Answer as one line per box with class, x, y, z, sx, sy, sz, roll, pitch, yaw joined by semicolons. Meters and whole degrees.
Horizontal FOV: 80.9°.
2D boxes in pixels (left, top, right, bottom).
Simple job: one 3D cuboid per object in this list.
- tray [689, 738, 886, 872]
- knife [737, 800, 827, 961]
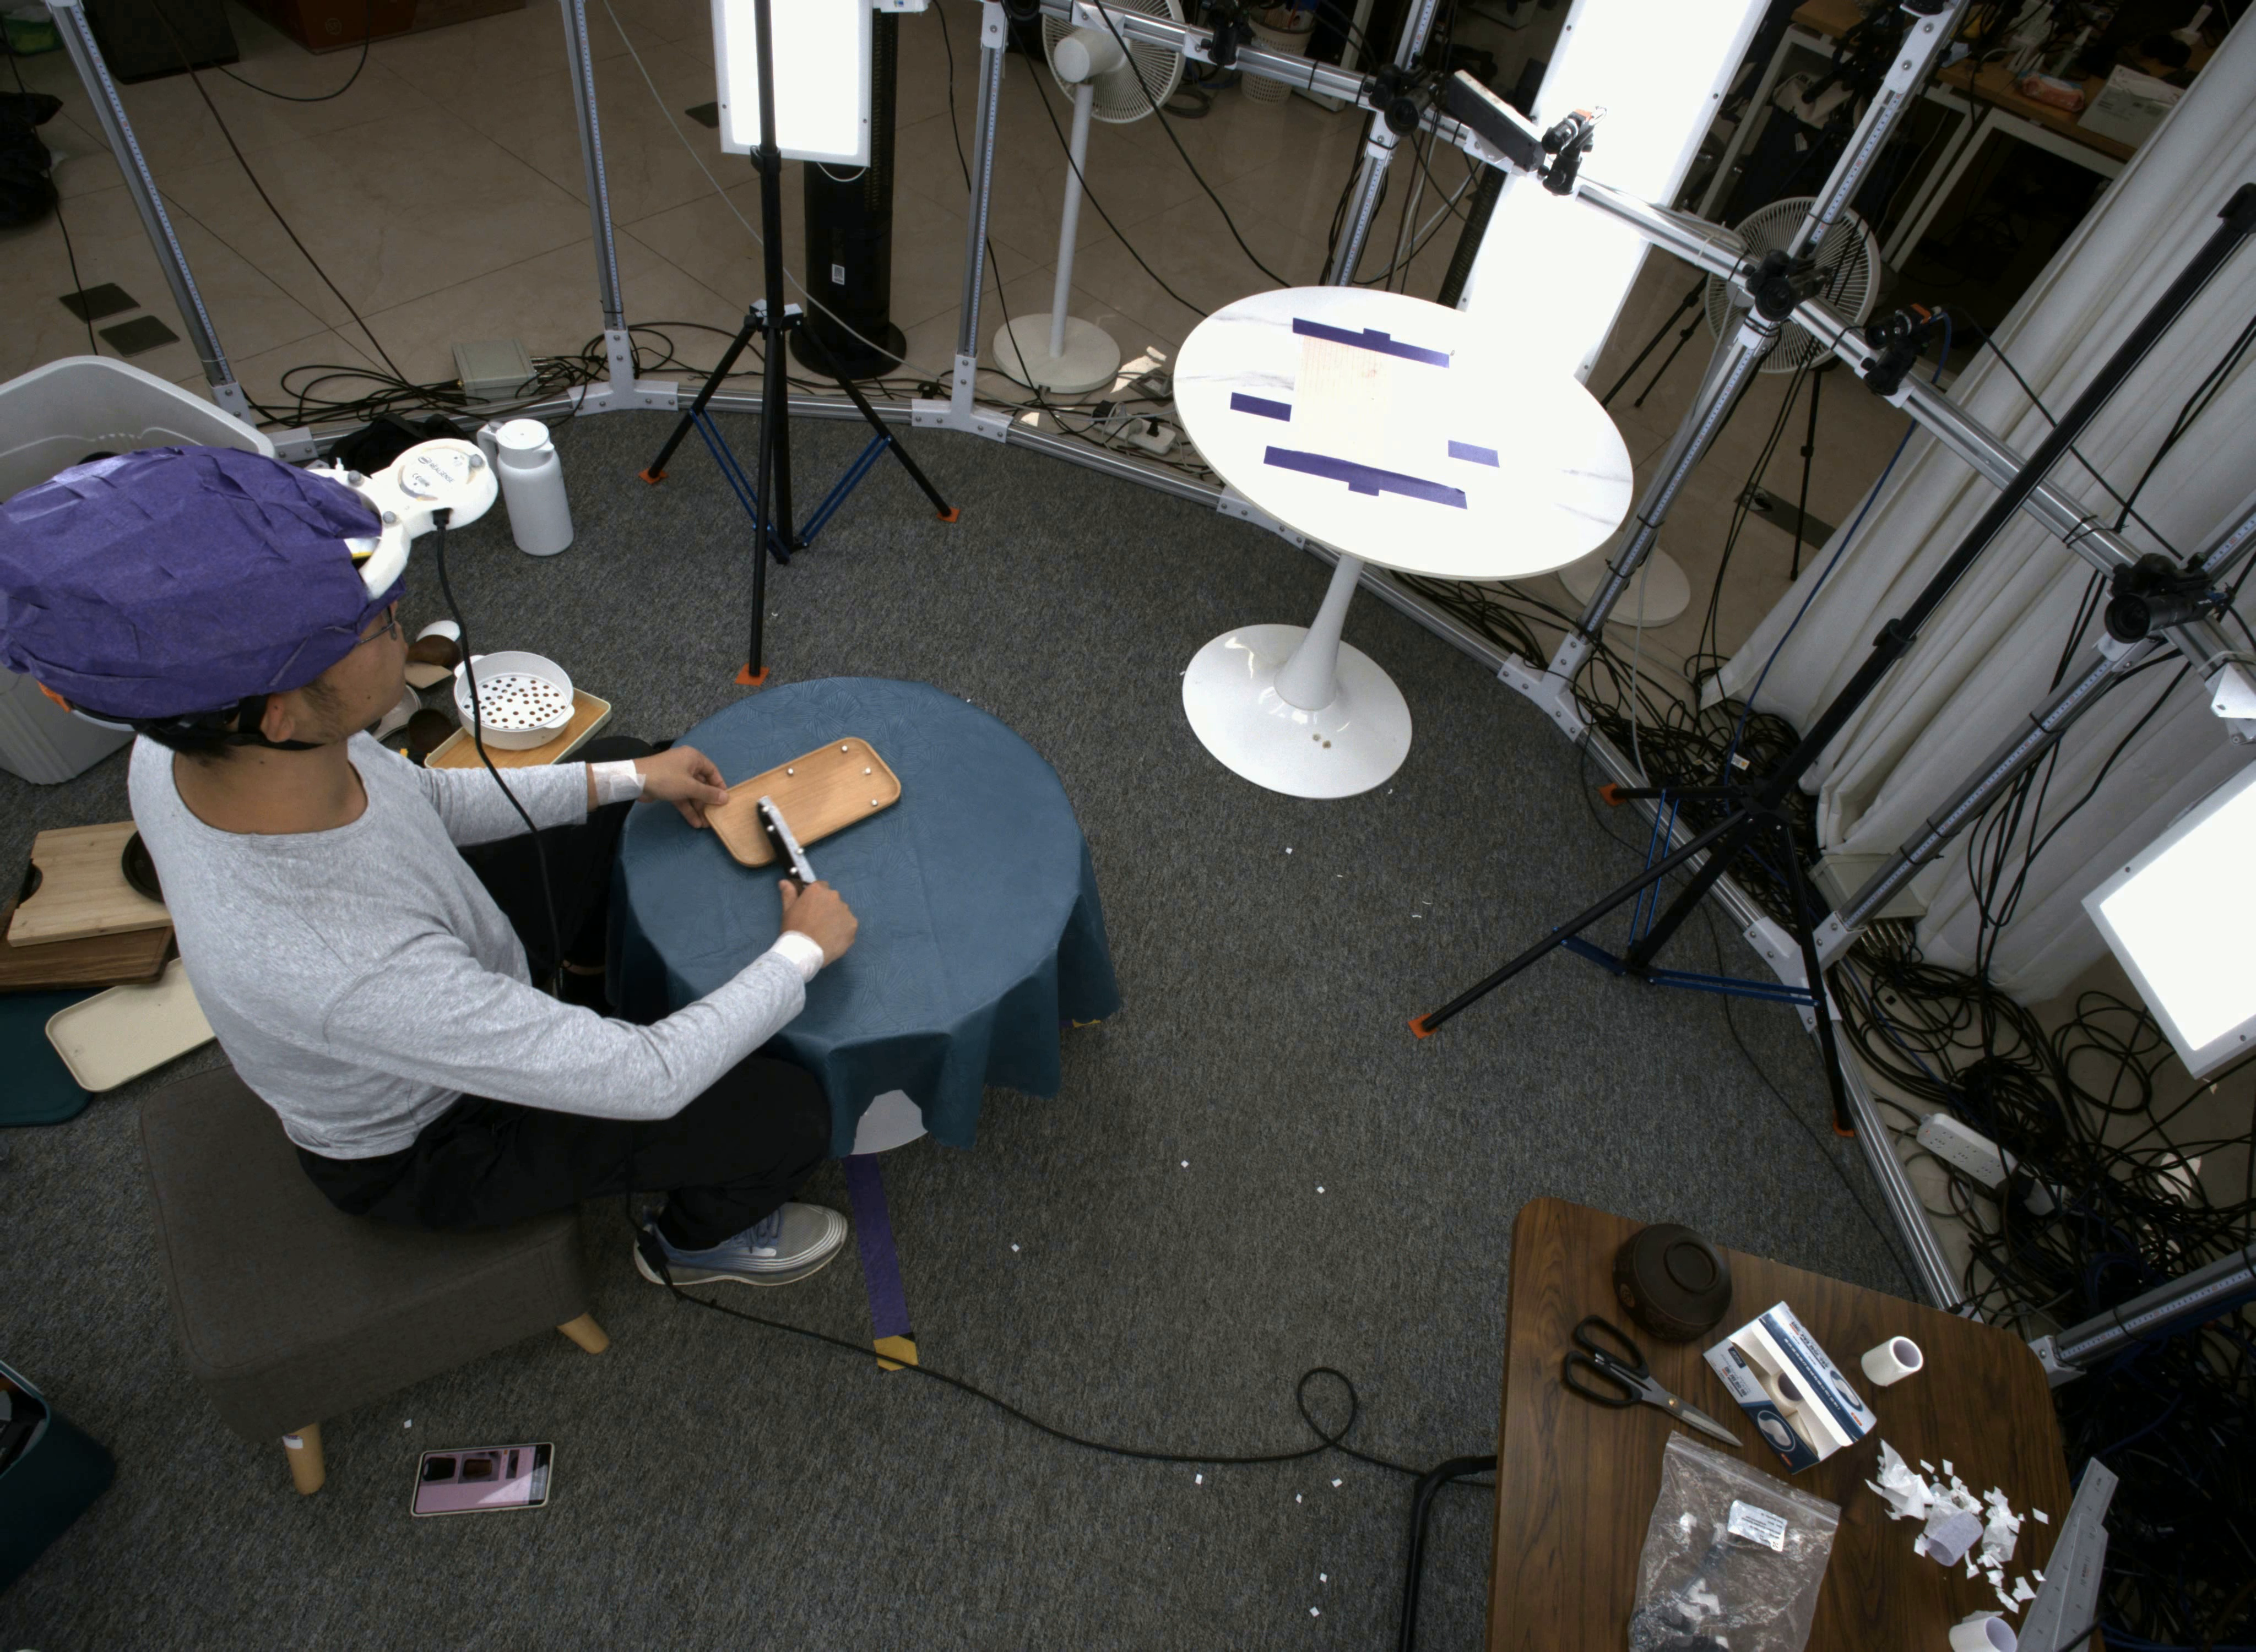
tray;-0.453;-0.031;1.735;0.252;0.023;0.127;-29;66;-31
knife;-0.441;0.060;1.640;0.051;0.020;0.280;14;33;-50
